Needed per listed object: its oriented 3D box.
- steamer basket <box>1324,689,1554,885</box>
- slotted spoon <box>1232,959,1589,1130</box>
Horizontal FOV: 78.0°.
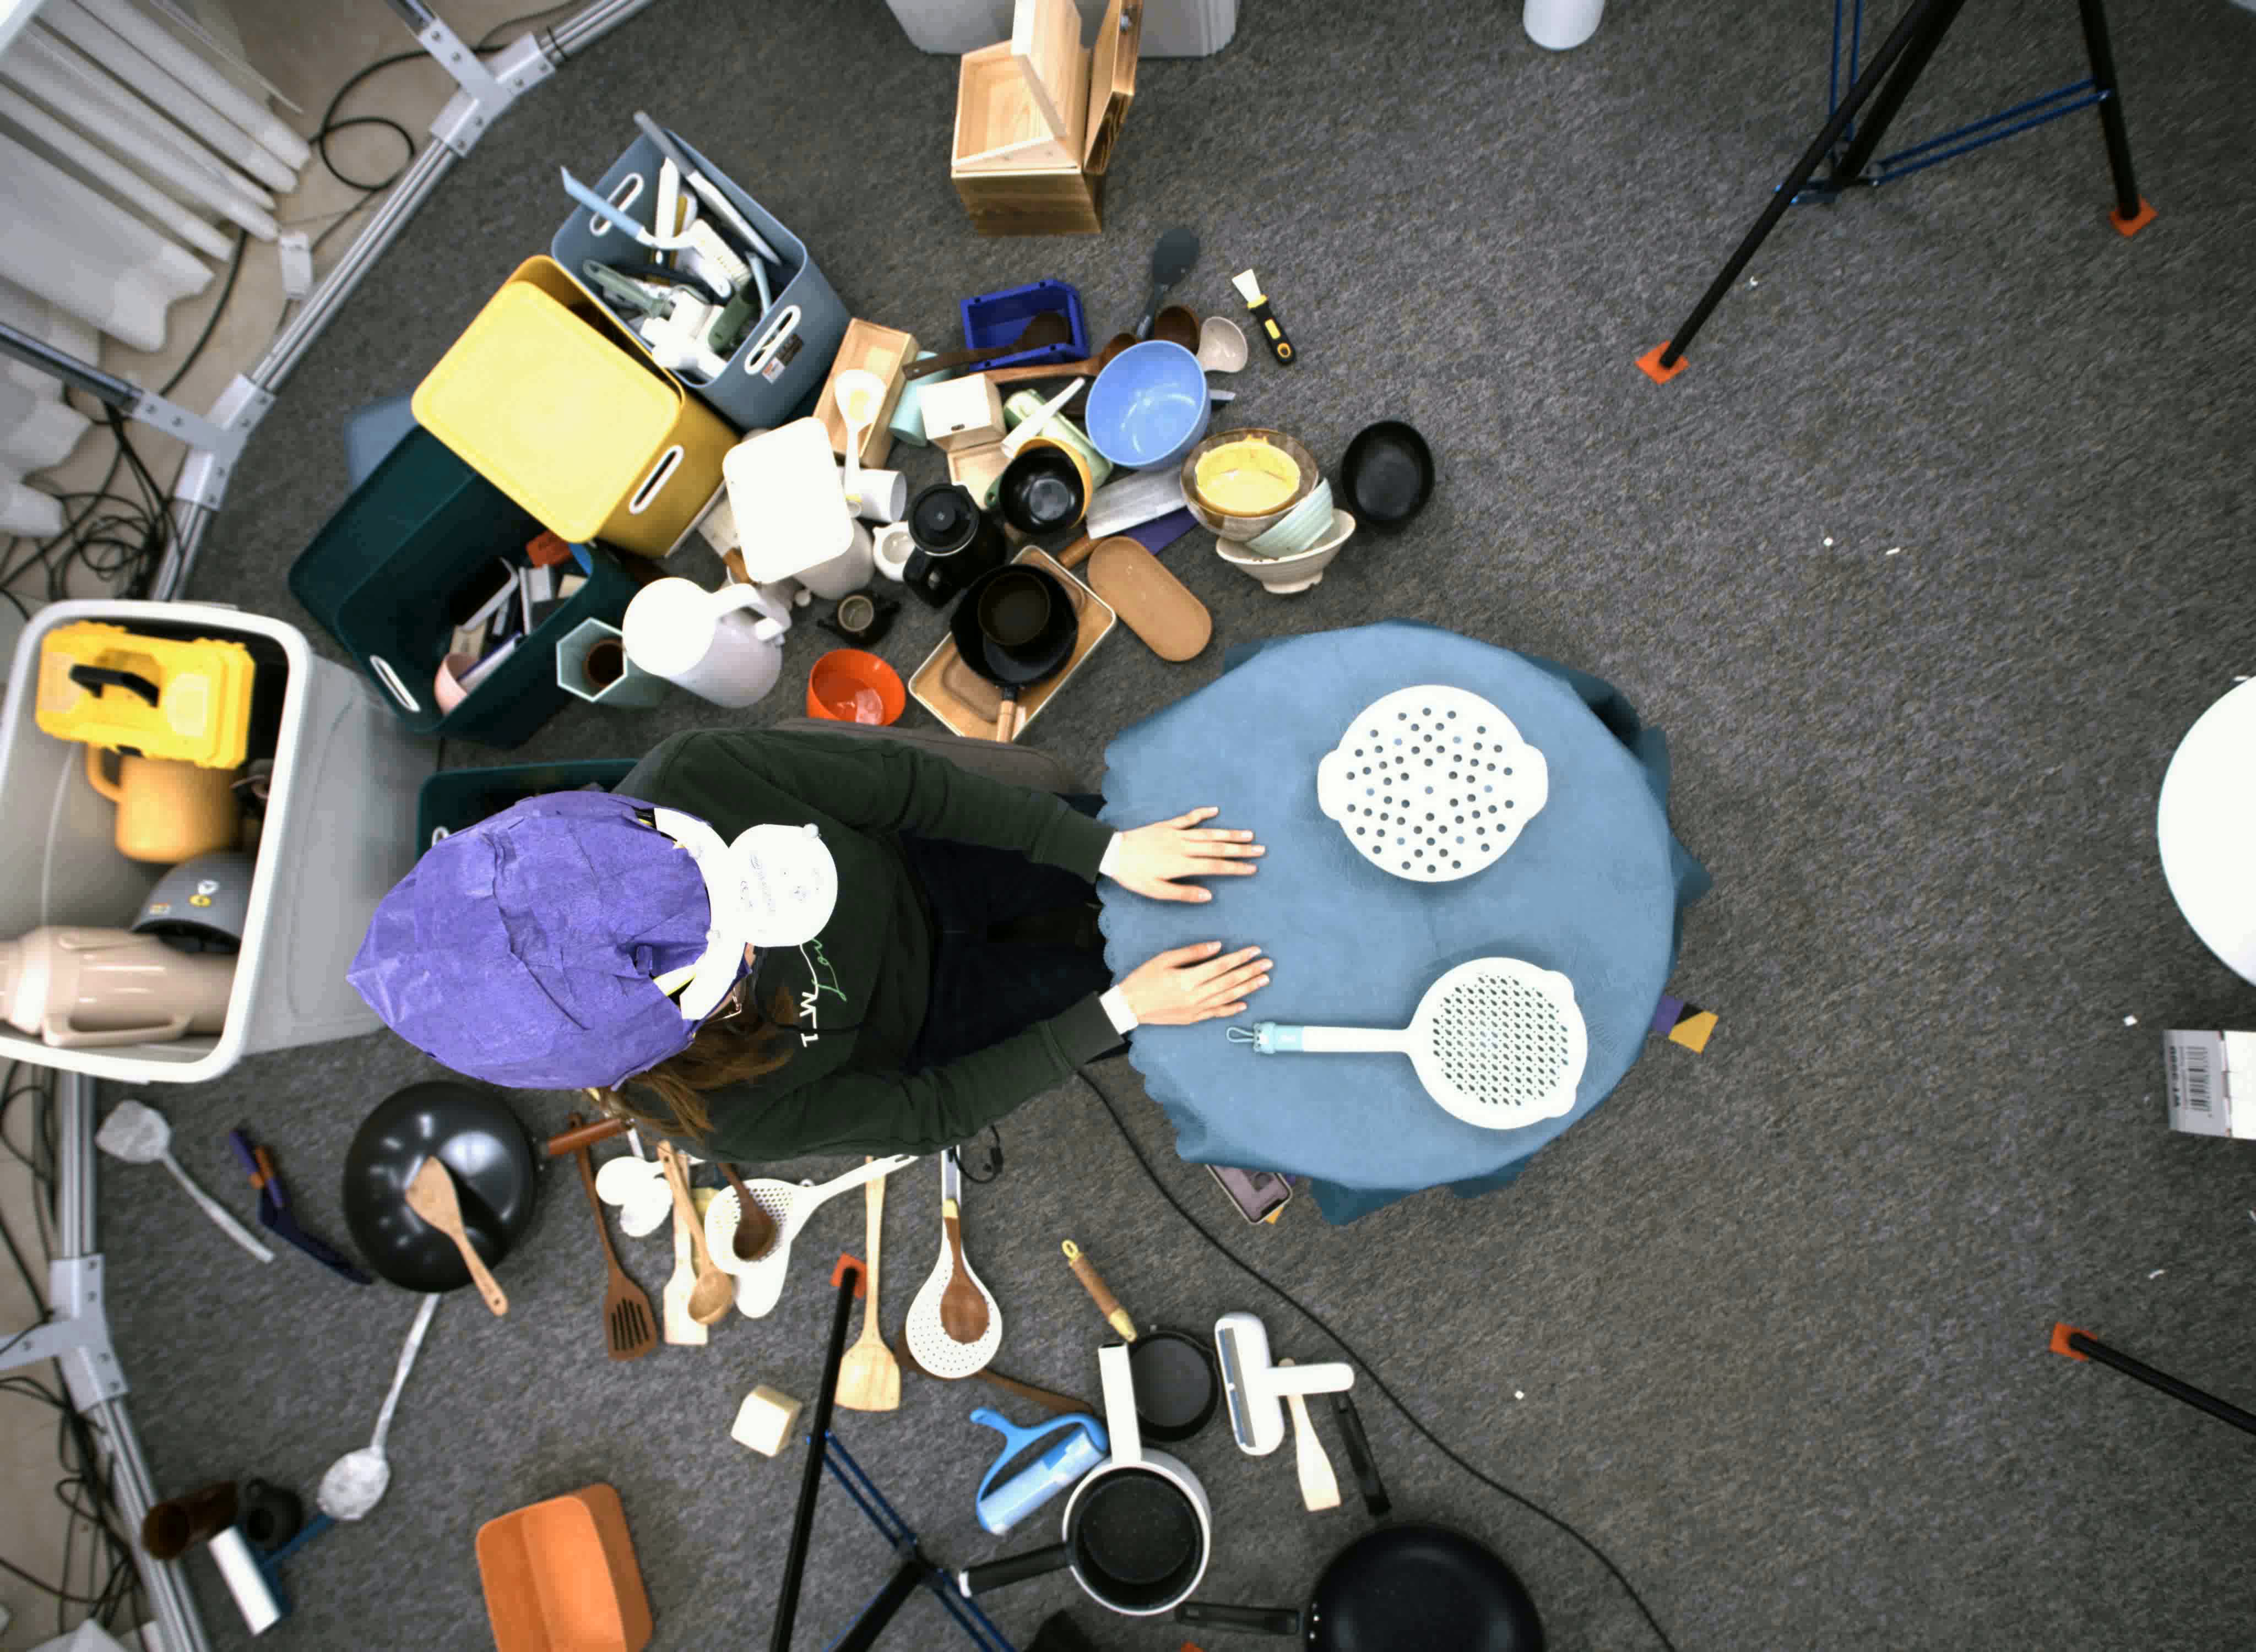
[{"bbox_3d":[0.322,-0.040,1.432,0.231,0.069,0.200,-2,84,11],"label":"steamer basket"},{"bbox_3d":[0.283,0.220,1.419,0.360,0.075,0.168,0,85,10],"label":"slotted spoon"}]
